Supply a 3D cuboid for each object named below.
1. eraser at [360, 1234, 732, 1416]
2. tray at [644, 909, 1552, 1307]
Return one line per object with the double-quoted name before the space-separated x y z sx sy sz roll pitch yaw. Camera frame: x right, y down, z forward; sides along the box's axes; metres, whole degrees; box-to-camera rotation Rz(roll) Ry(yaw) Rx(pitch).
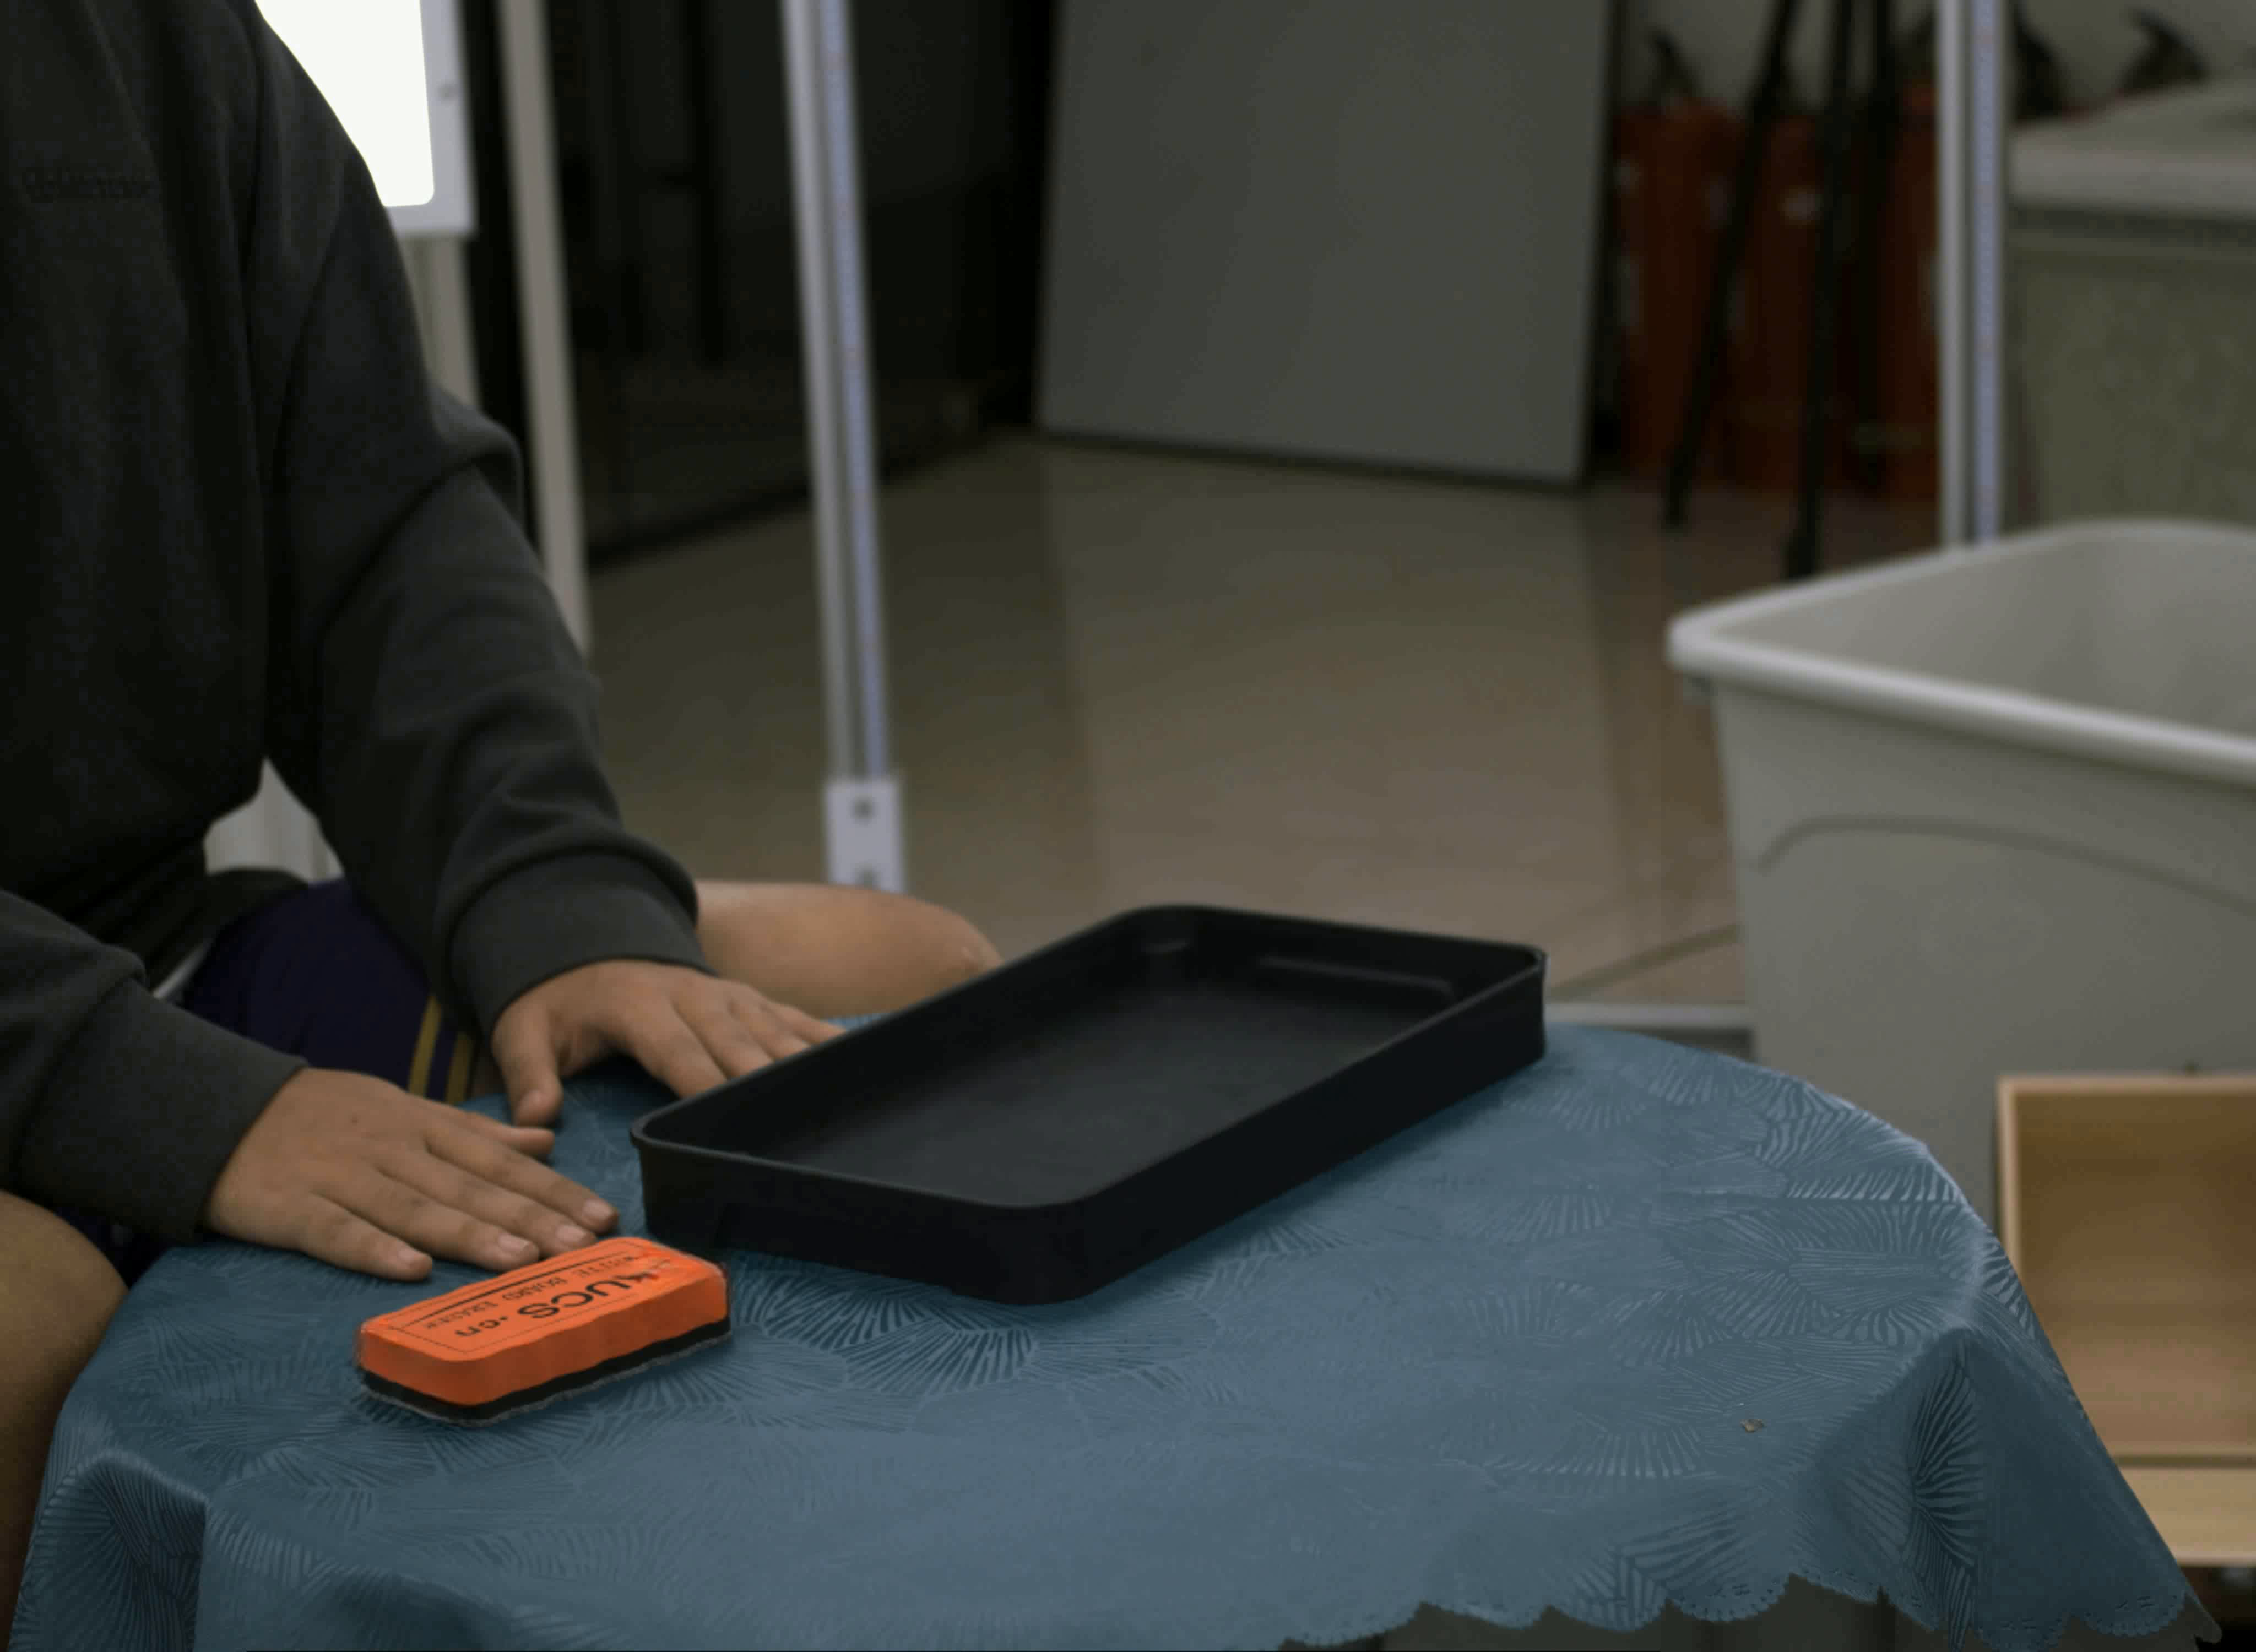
"eraser" -0.175 0.150 1.636 0.106 0.023 0.059 -18 13 -41
"tray" -0.003 0.090 1.828 0.185 0.037 0.312 5 17 35
